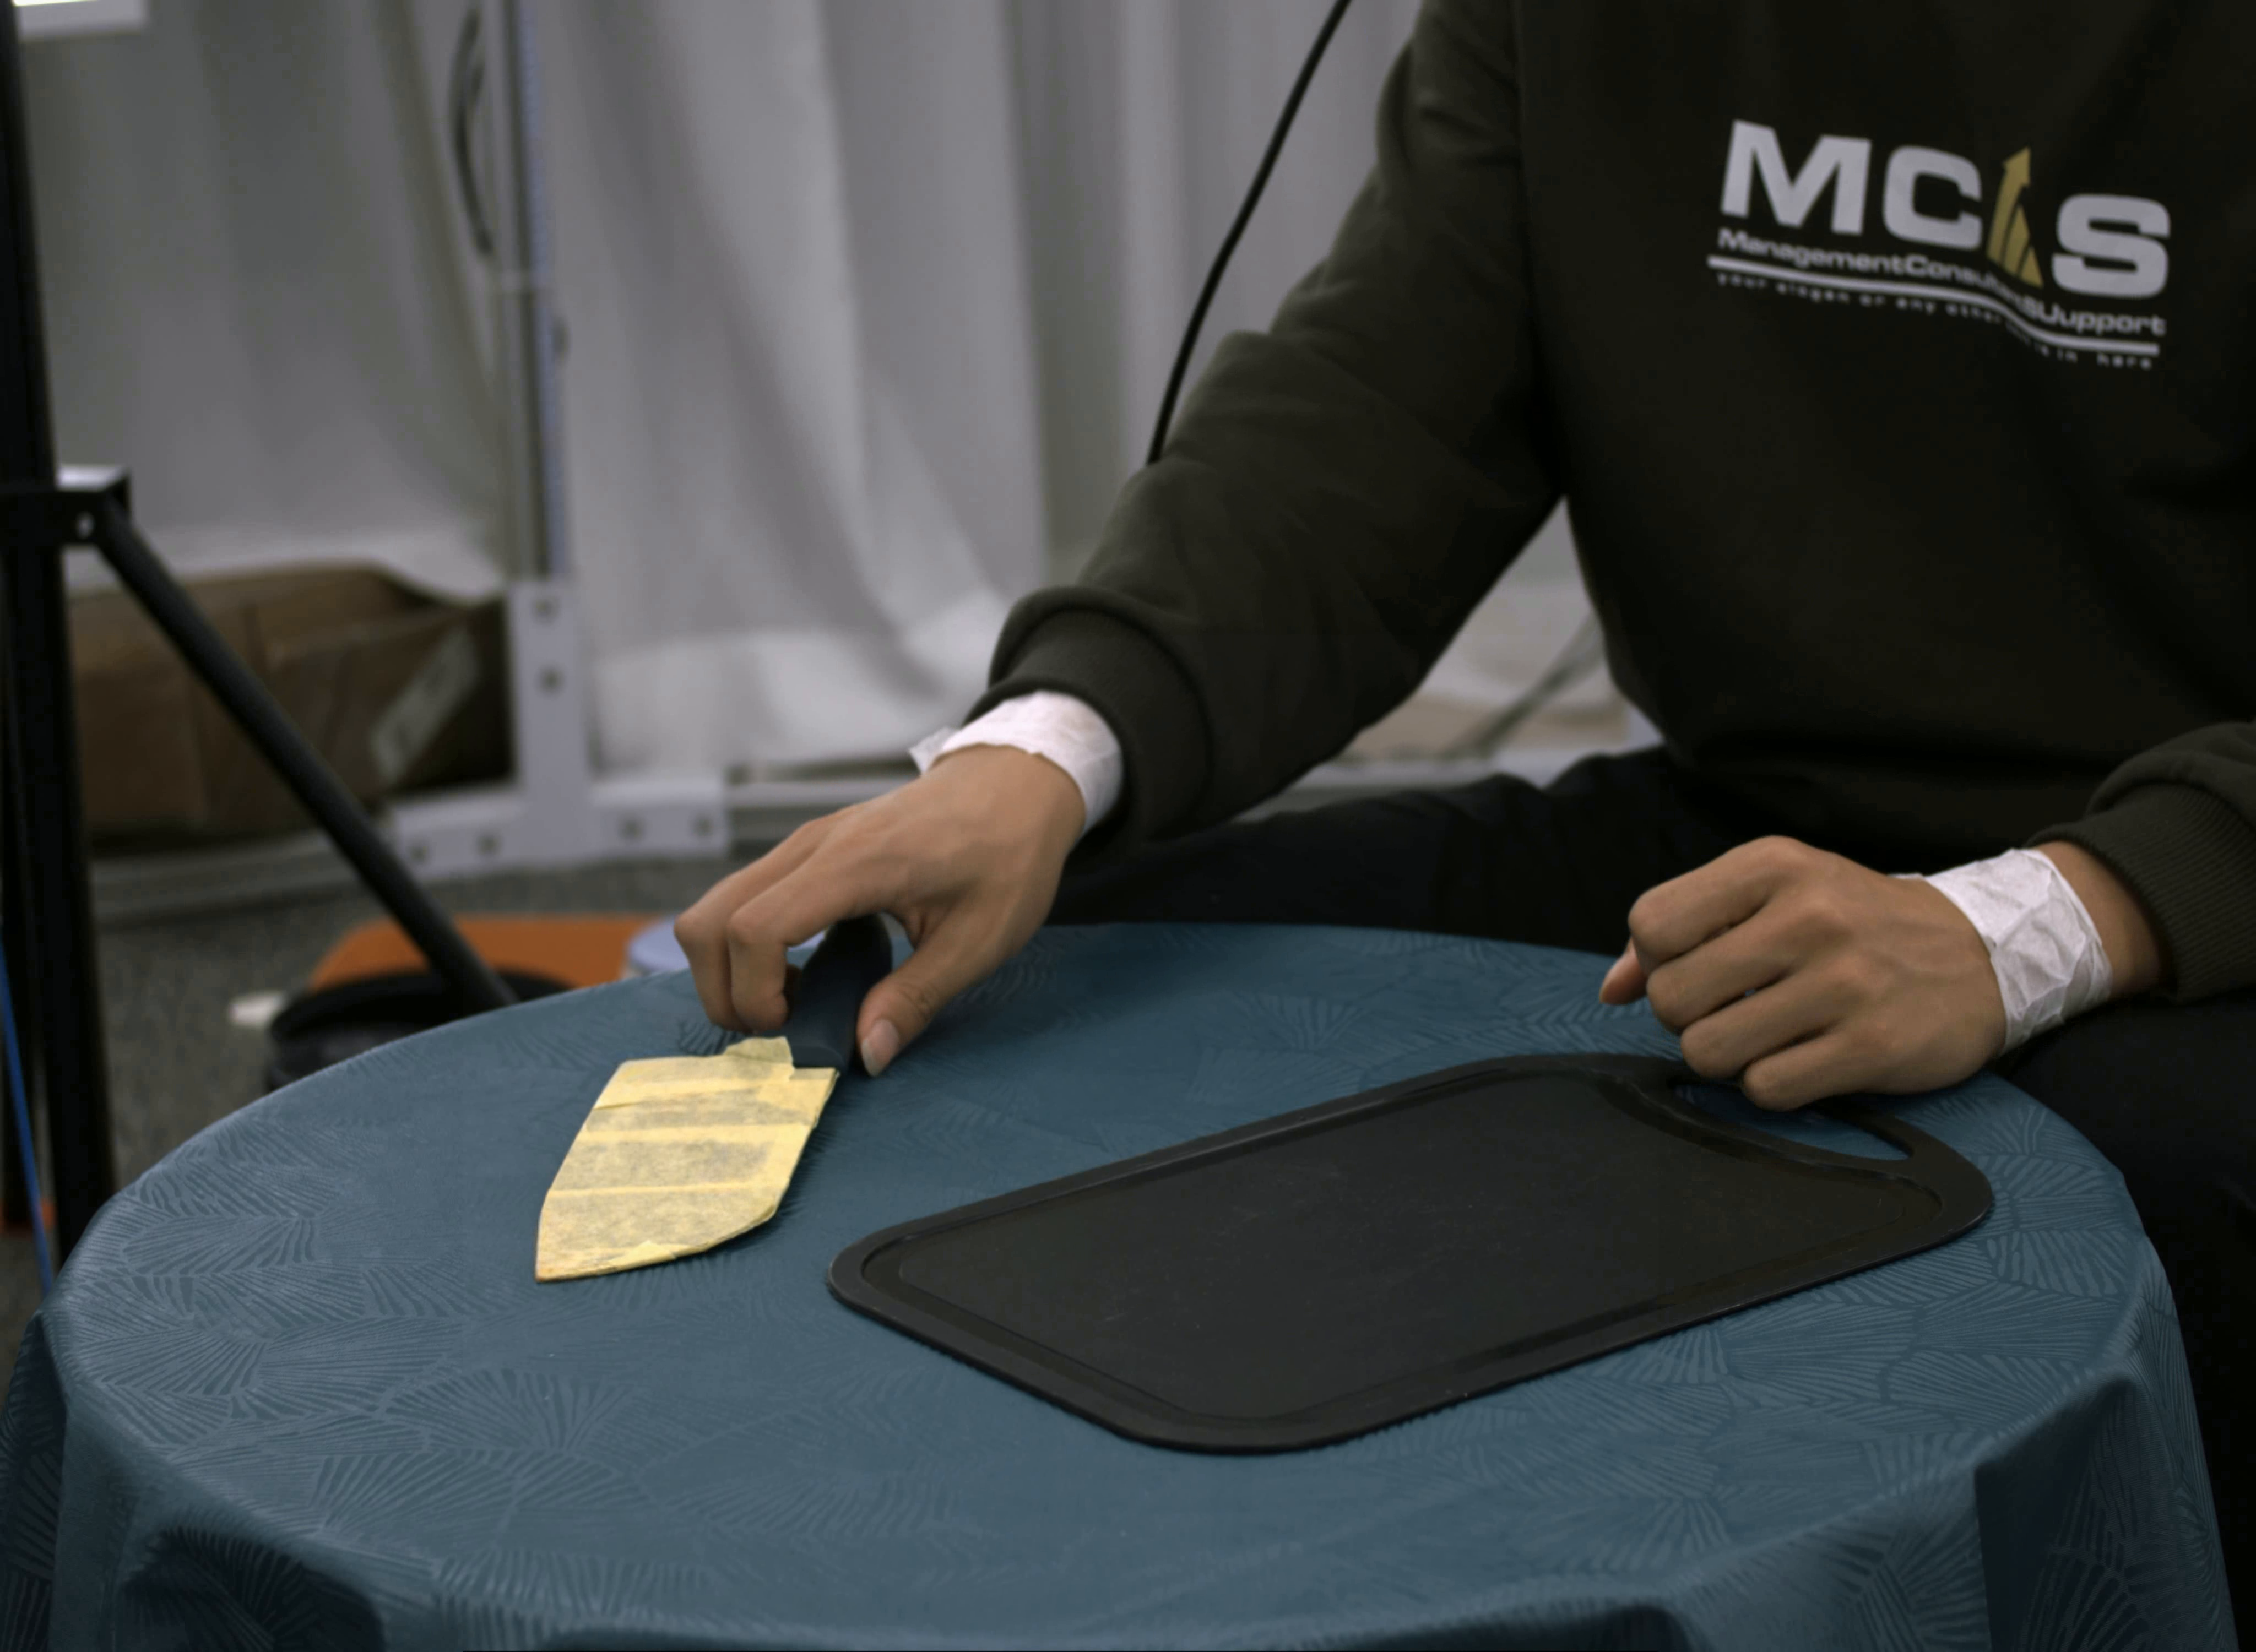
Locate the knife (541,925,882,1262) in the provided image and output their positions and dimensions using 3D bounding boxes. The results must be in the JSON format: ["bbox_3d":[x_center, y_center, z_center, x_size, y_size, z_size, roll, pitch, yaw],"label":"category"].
[{"bbox_3d":[-0.124,0.082,1.646,0.081,0.027,0.288,1,17,10],"label":"knife"}]

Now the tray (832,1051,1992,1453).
[{"bbox_3d":[0.089,0.113,1.516,0.318,0.010,0.216,-13,19,-33],"label":"tray"}]
